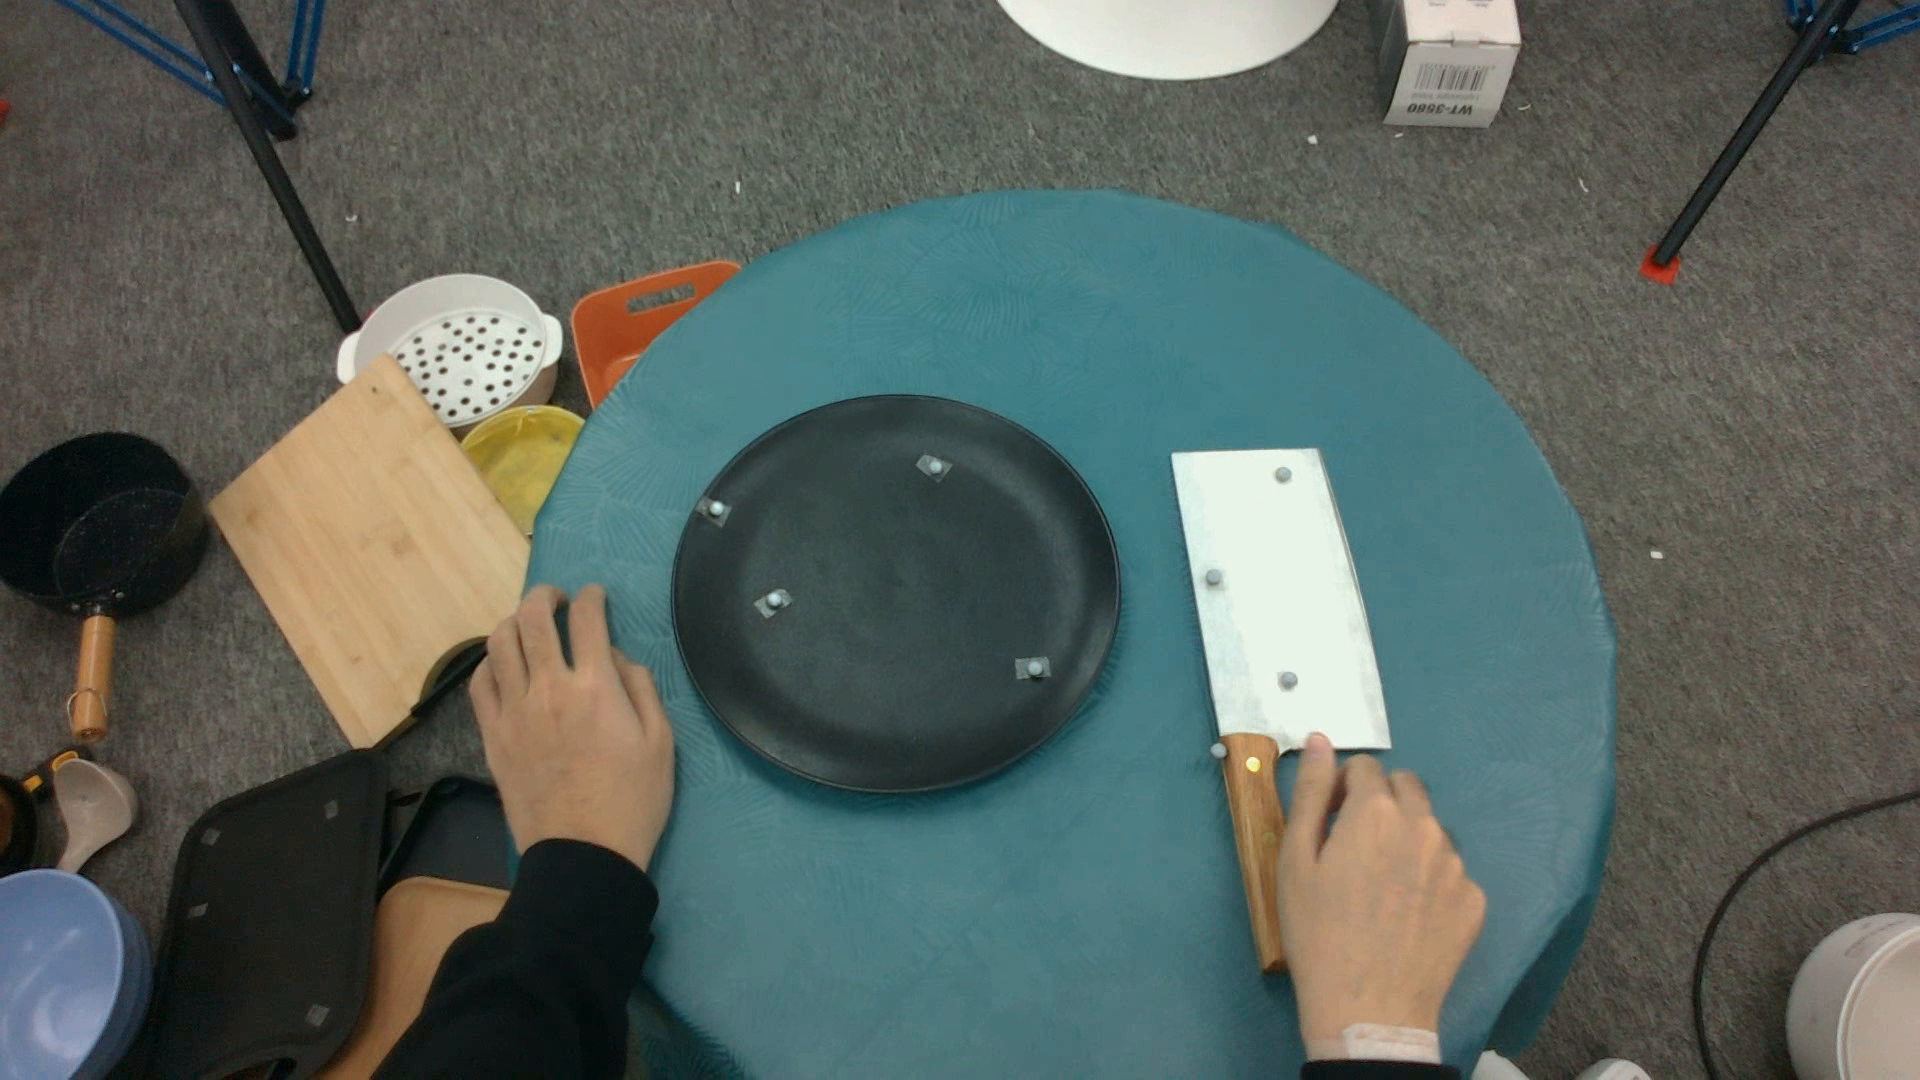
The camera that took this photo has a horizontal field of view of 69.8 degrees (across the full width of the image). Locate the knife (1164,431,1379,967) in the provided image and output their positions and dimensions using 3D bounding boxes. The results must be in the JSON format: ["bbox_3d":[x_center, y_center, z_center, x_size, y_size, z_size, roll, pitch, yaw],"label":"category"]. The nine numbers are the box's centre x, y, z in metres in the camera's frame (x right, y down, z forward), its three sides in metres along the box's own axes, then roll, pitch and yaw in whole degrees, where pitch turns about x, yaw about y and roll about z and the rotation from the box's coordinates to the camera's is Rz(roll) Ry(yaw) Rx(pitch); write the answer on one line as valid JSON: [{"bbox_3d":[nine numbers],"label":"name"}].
[{"bbox_3d":[0.171,0.068,0.730,0.093,0.021,0.307,0,59,-7],"label":"knife"}]

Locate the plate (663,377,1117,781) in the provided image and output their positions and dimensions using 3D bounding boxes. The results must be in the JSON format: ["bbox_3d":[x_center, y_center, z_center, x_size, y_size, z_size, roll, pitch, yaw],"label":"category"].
[{"bbox_3d":[-0.037,0.016,0.747,0.244,0.023,0.245,1,61,-1],"label":"plate"}]
